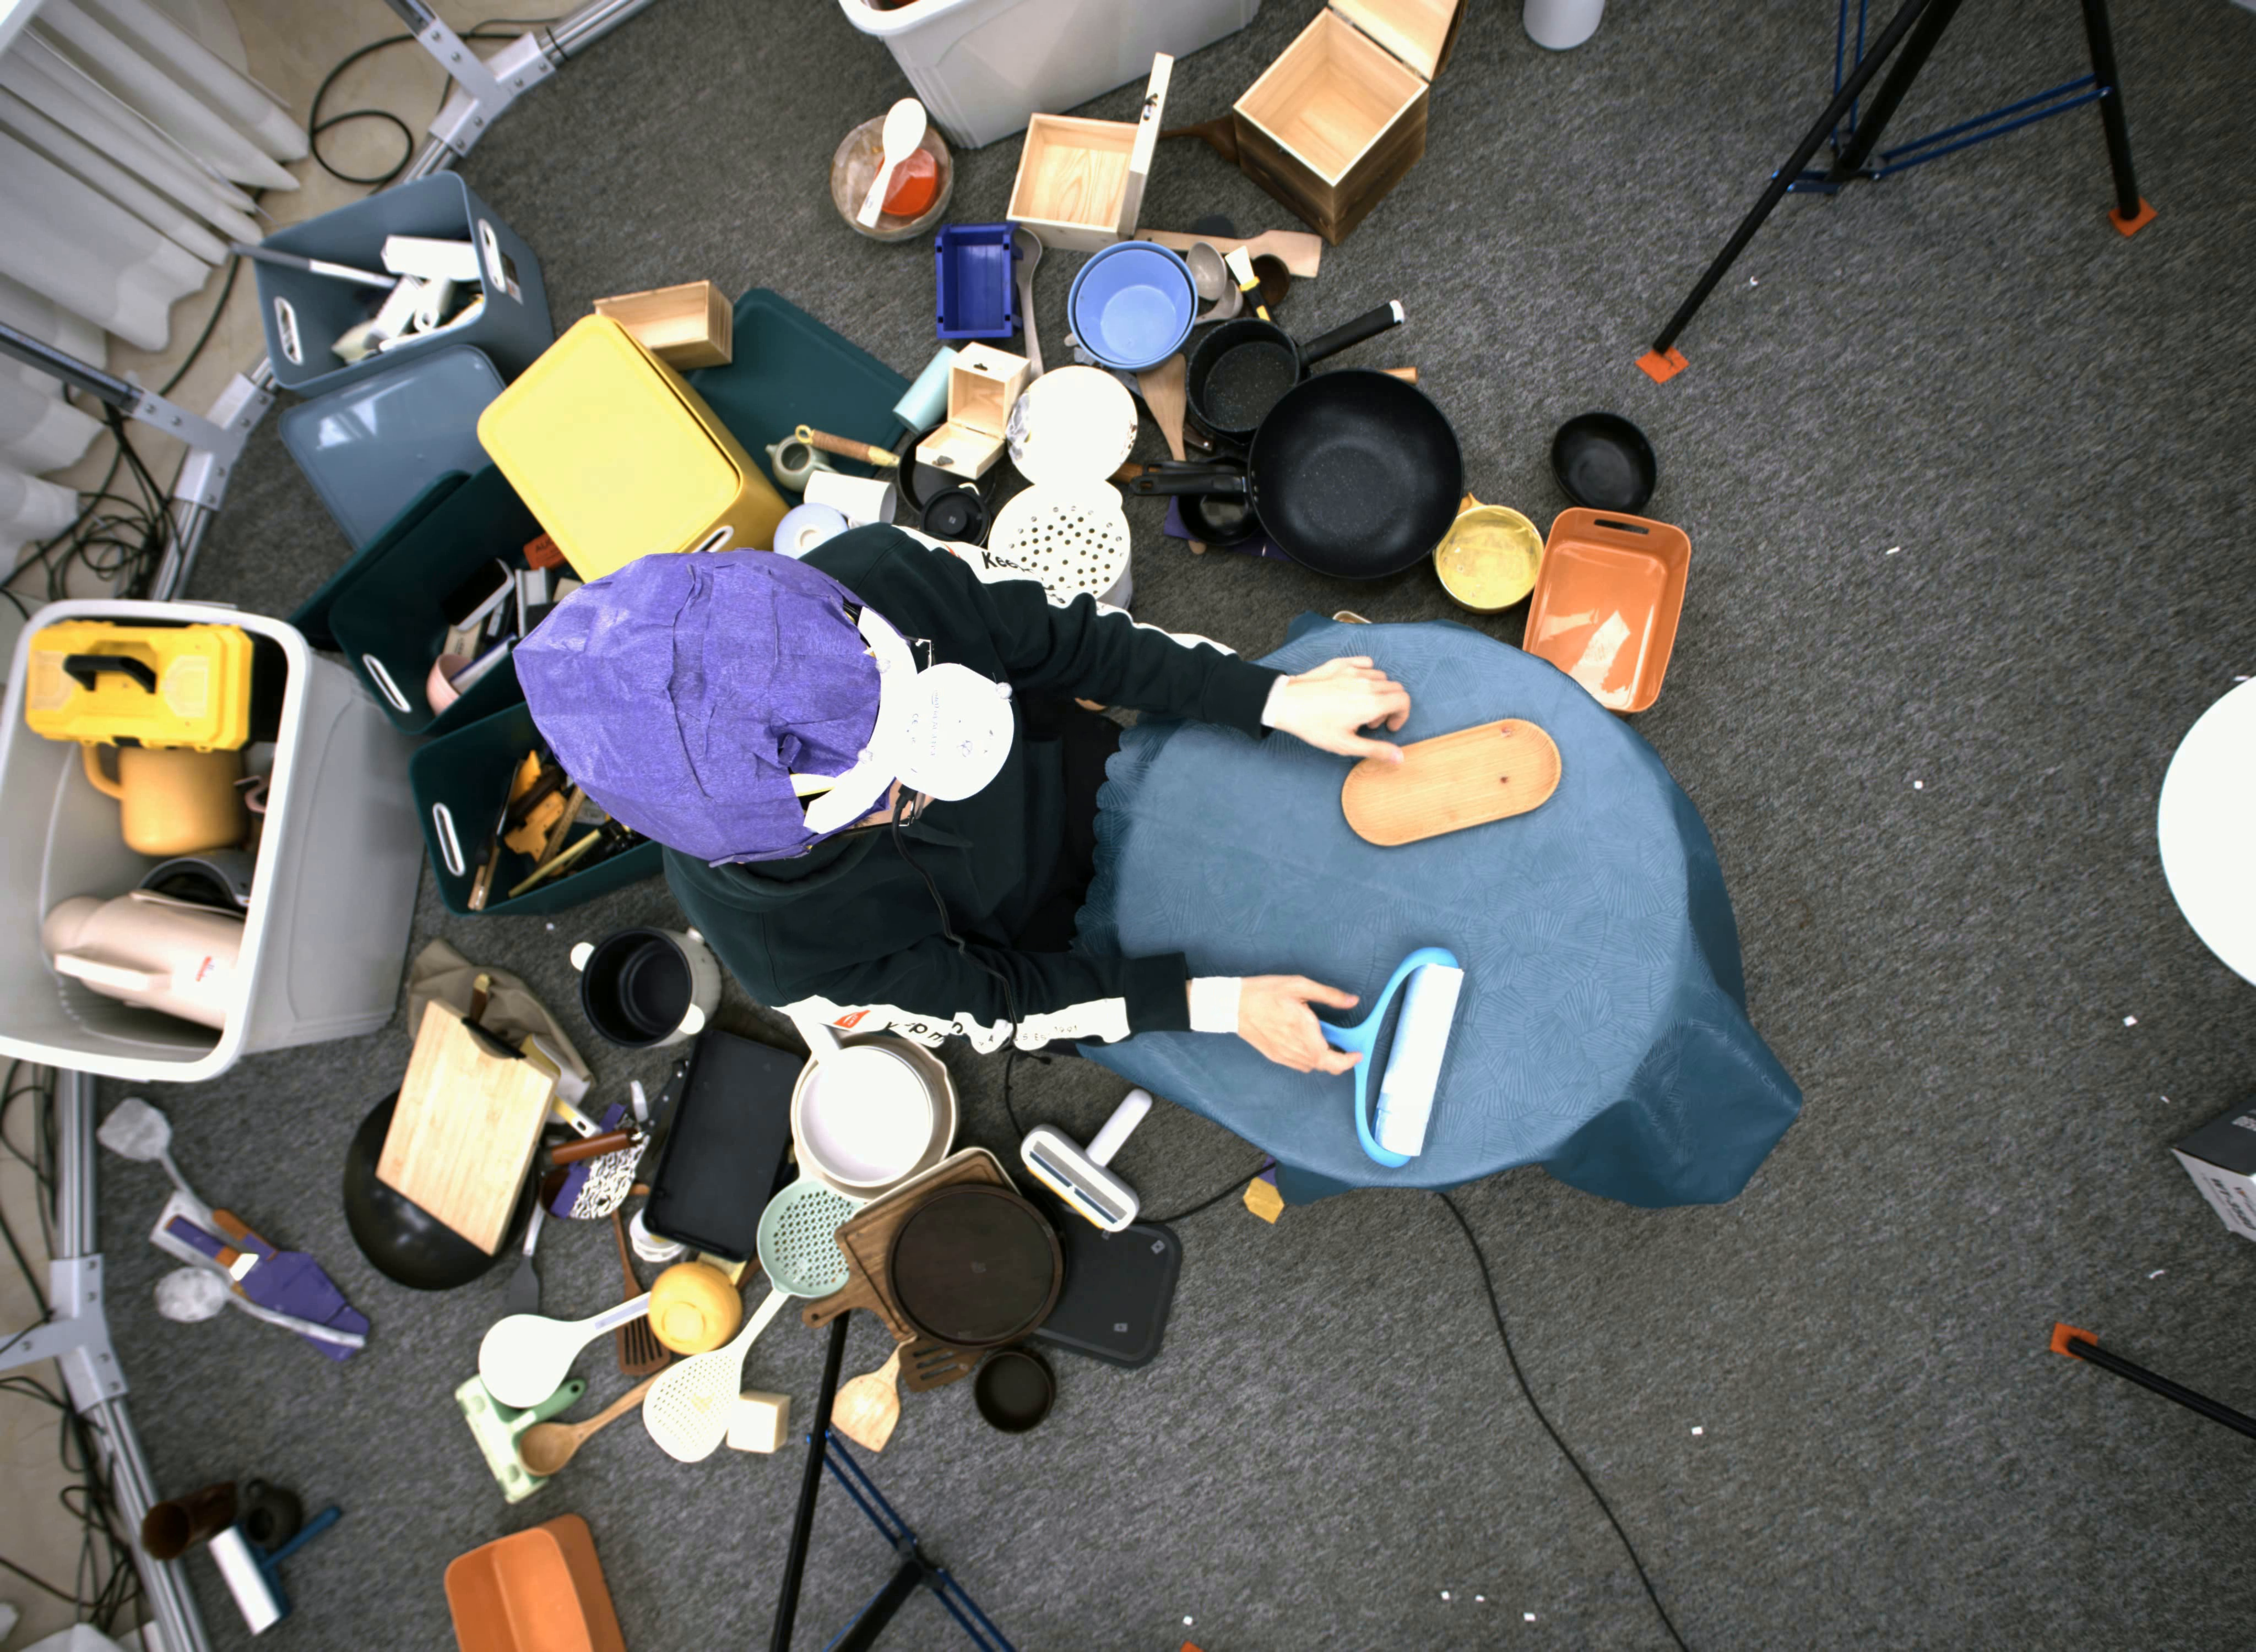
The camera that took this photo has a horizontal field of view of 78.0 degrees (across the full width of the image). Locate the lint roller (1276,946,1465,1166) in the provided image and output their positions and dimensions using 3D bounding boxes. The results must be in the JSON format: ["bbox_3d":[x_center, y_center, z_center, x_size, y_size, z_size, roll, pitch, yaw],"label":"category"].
[{"bbox_3d":[0.239,0.222,1.424,0.180,0.068,0.229,12,91,9],"label":"lint roller"}]

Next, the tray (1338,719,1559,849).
[{"bbox_3d":[0.335,-0.045,1.441,0.232,0.020,0.101,-16,83,11],"label":"tray"}]
